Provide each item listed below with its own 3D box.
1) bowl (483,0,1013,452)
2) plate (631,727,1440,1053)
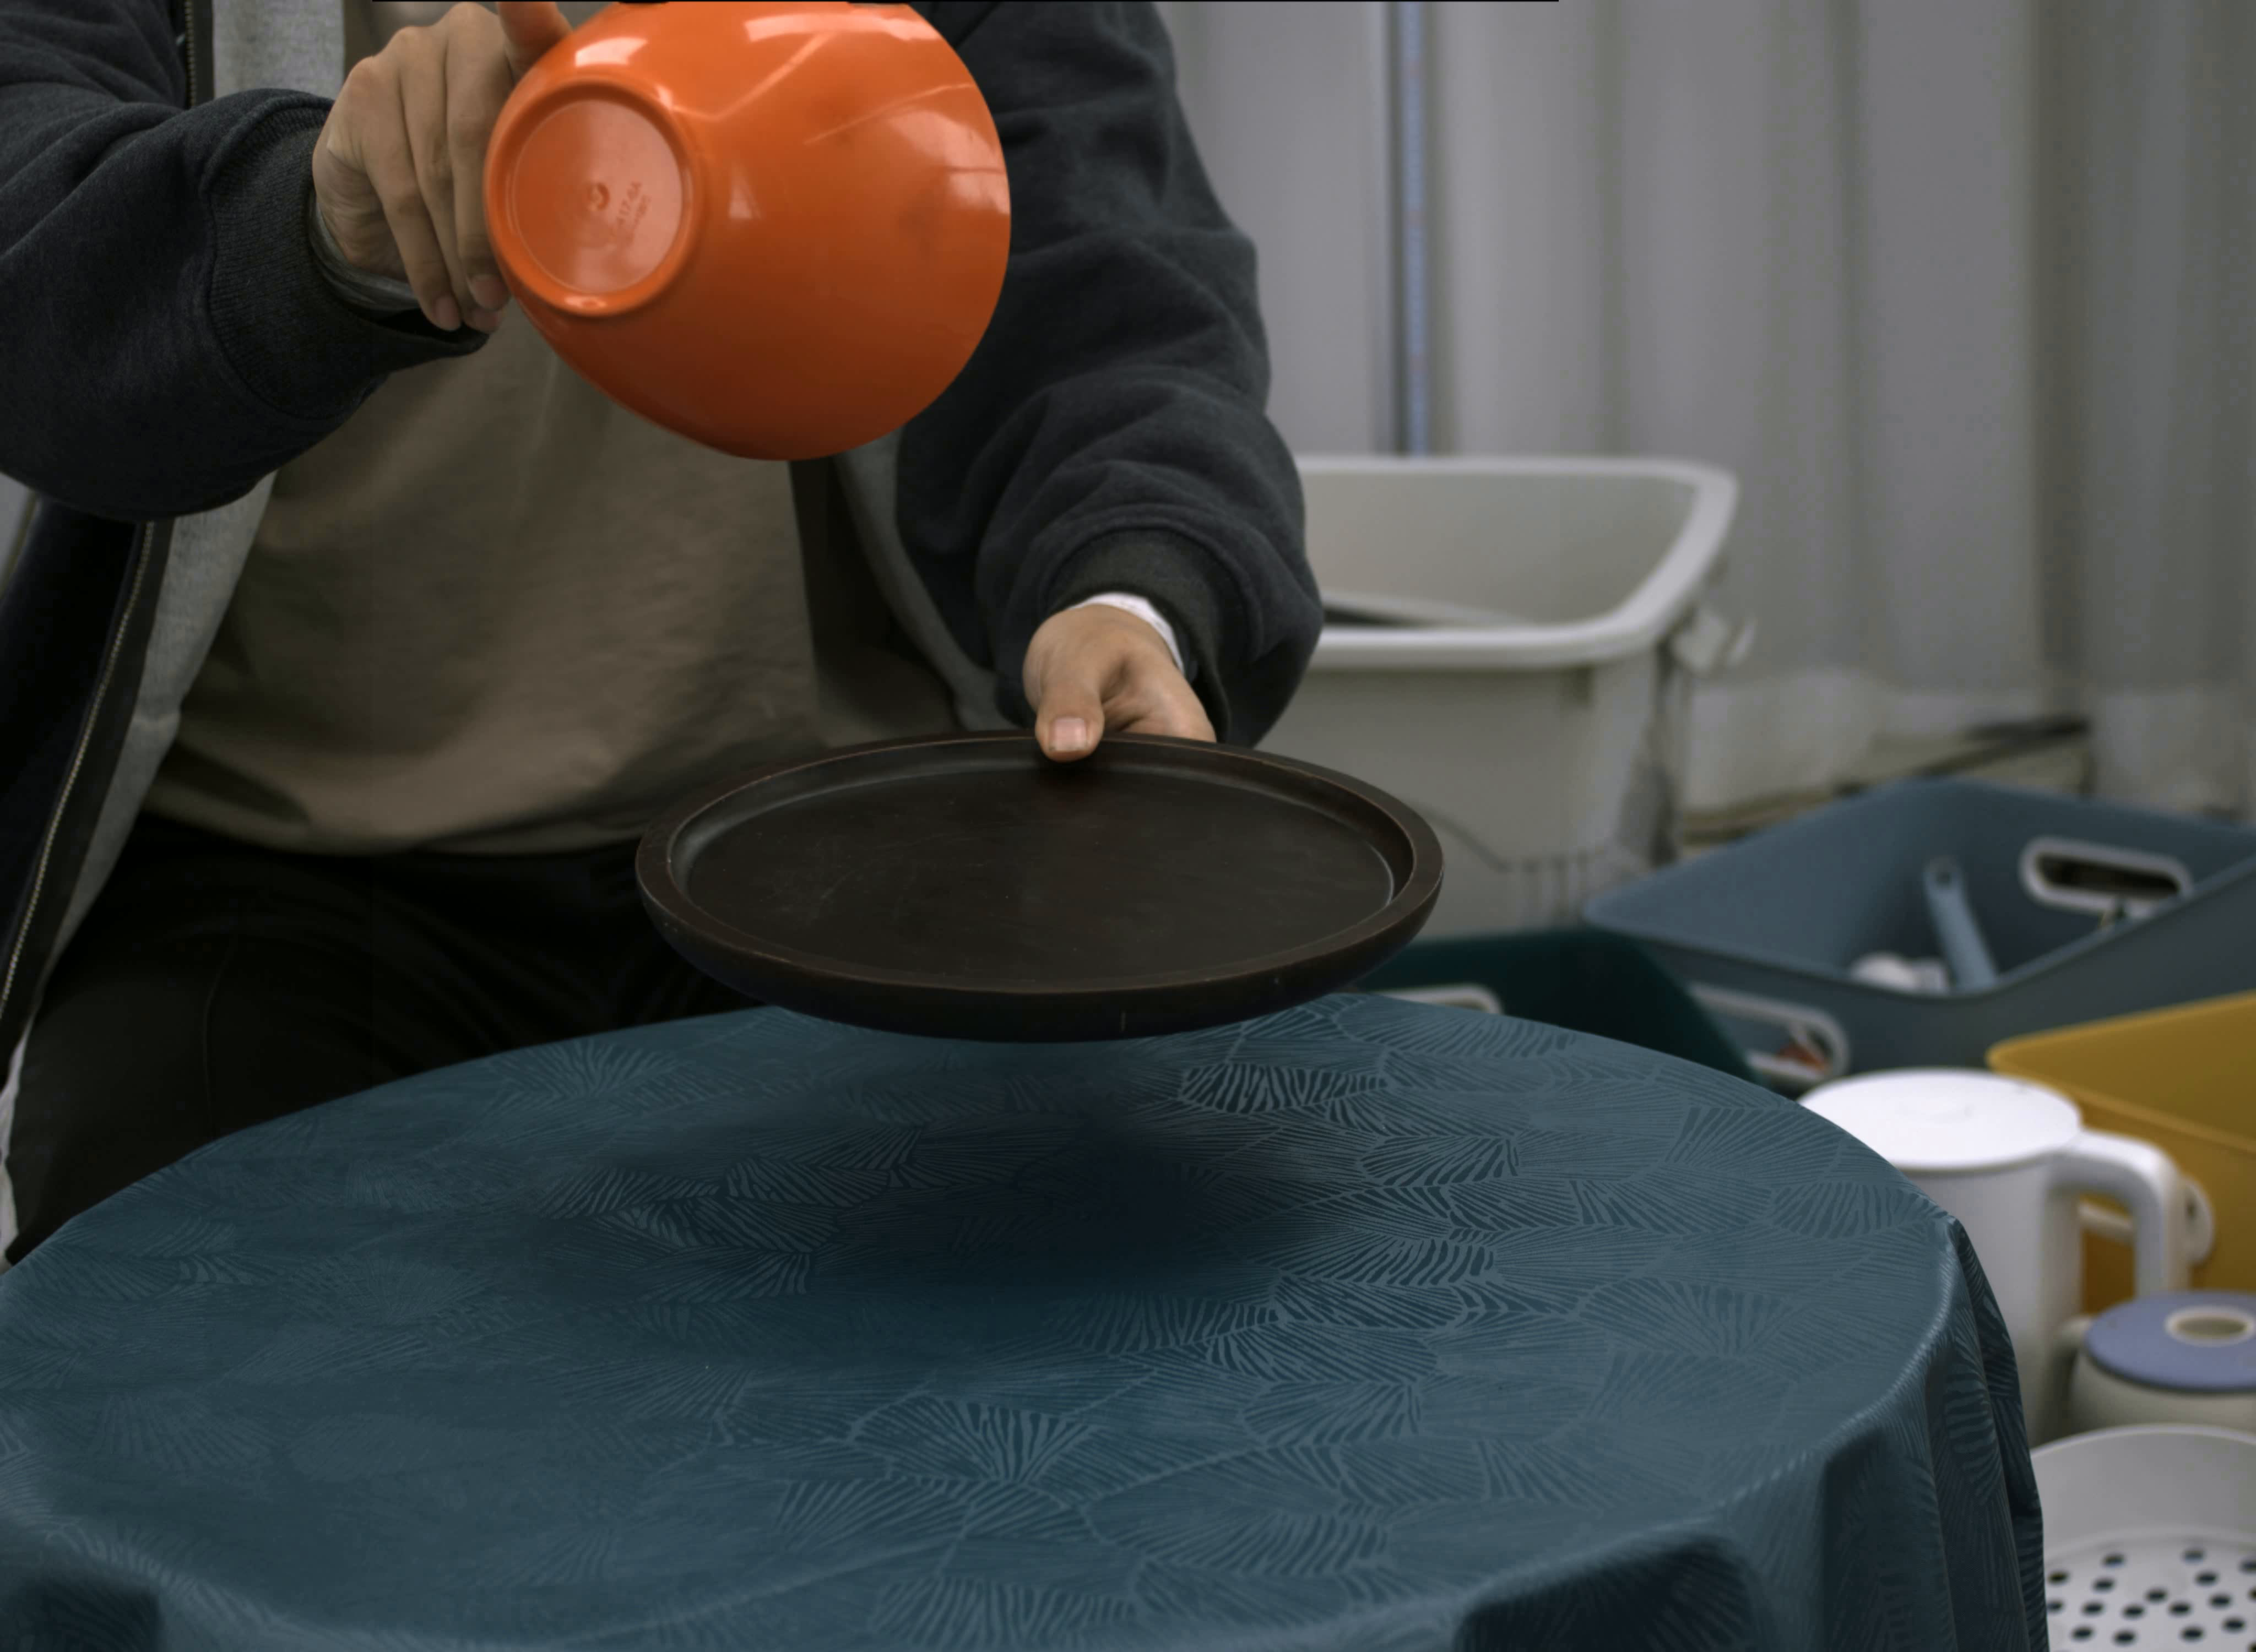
[{"bbox_3d":[-0.120,-0.178,1.565,0.148,0.148,0.104,4,8,22],"label":"bowl"},{"bbox_3d":[-0.028,0.017,1.708,0.254,0.029,0.257,-1,19,0],"label":"plate"}]
